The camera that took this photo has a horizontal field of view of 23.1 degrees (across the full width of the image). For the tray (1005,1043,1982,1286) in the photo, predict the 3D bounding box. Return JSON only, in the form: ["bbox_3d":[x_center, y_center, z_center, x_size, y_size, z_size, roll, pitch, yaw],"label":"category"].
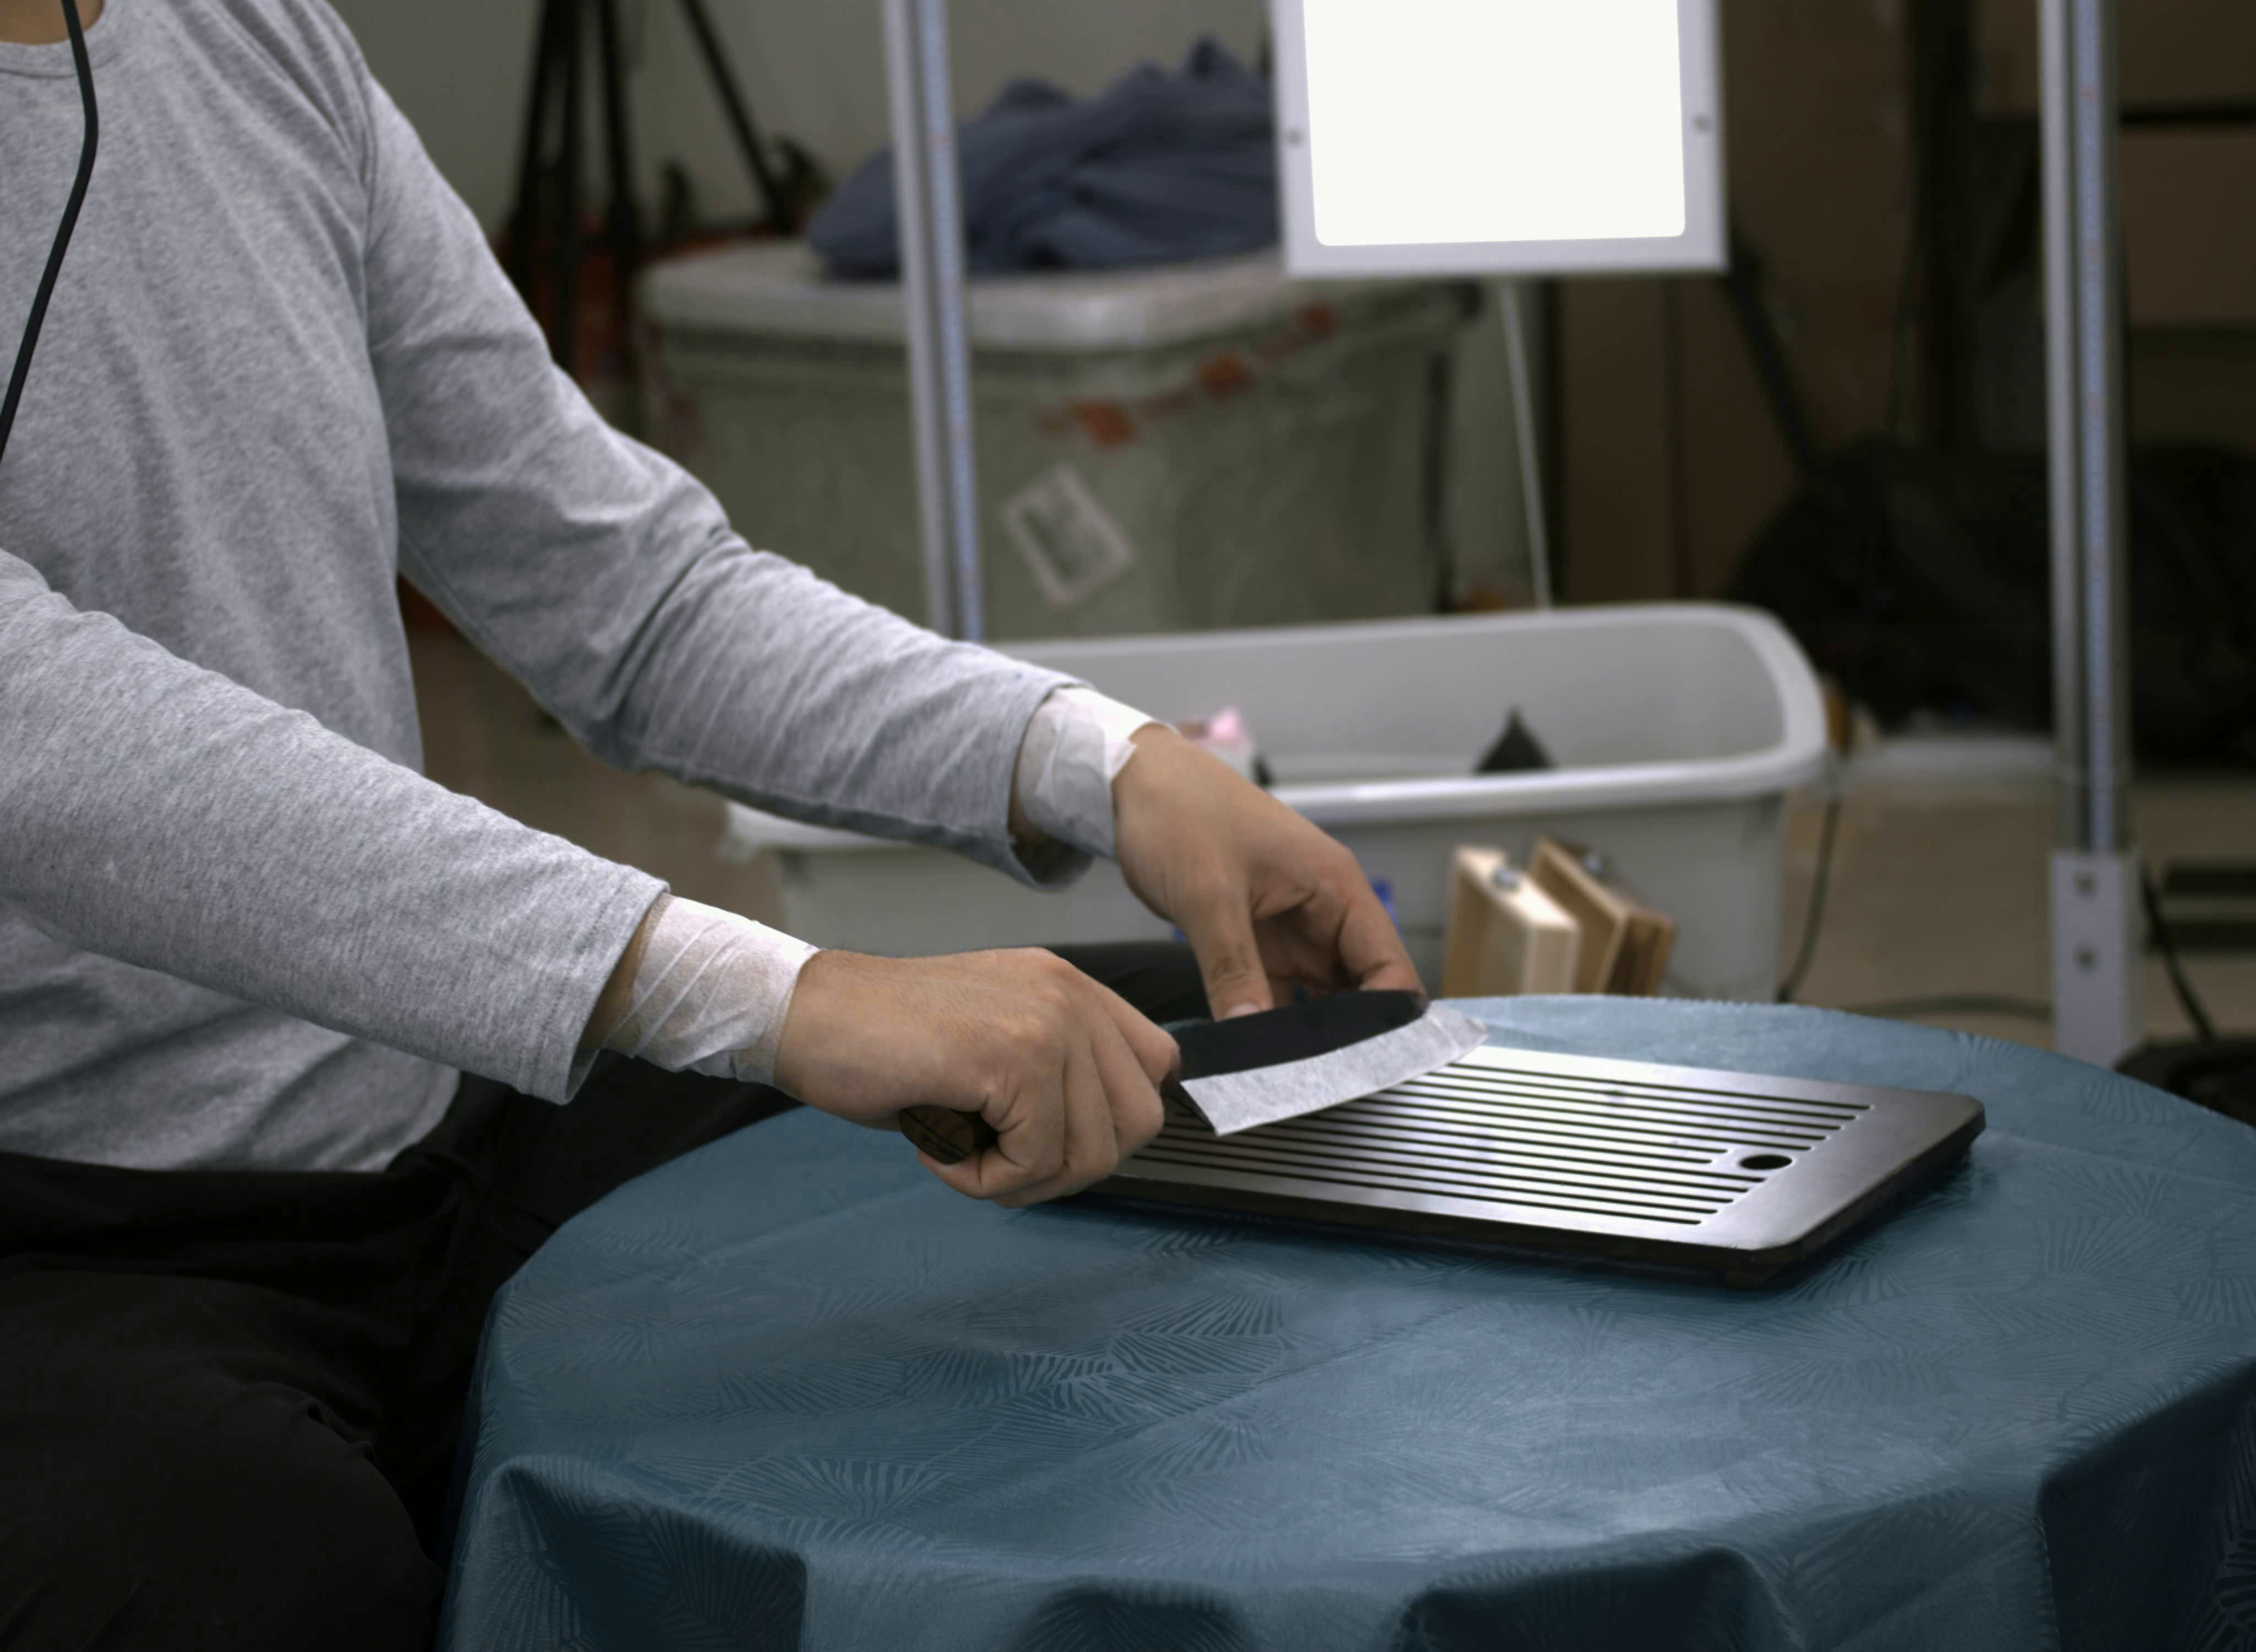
[{"bbox_3d":[0.125,0.110,1.884,0.312,0.019,0.166,4,17,35],"label":"tray"}]

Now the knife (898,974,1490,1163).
[{"bbox_3d":[0.029,0.080,1.821,0.281,0.020,0.050,-8,53,-47],"label":"knife"}]
